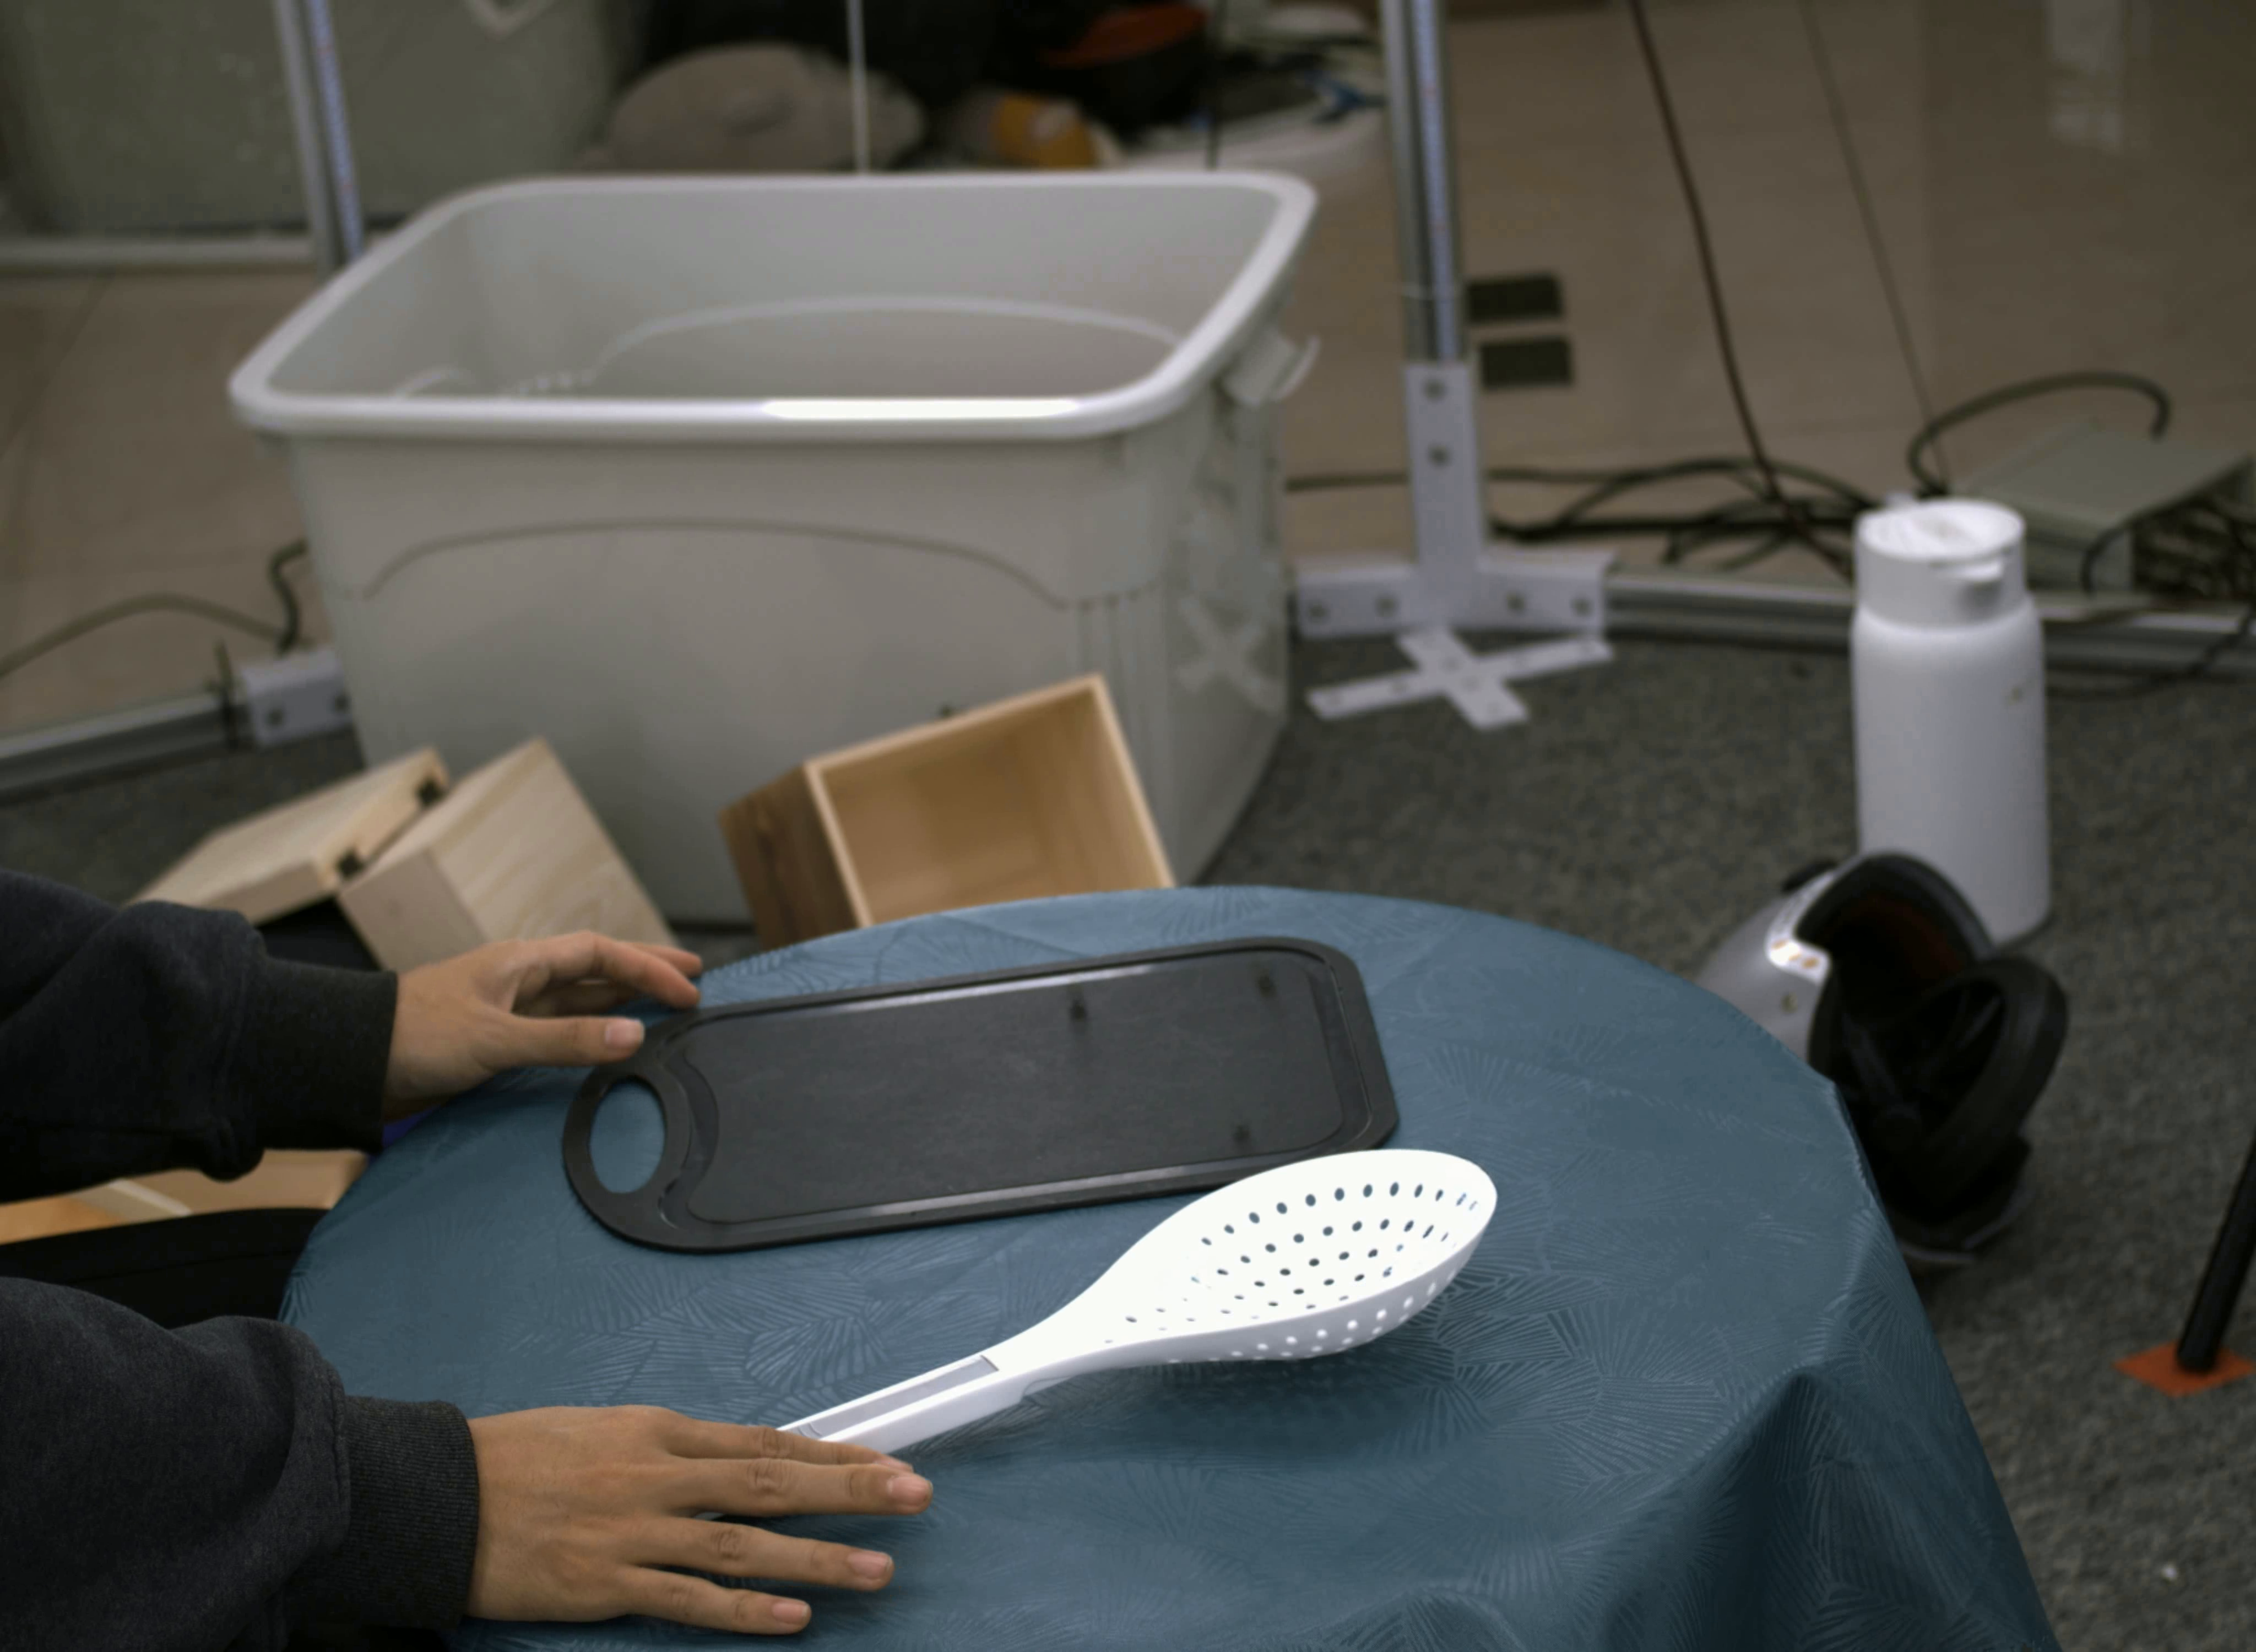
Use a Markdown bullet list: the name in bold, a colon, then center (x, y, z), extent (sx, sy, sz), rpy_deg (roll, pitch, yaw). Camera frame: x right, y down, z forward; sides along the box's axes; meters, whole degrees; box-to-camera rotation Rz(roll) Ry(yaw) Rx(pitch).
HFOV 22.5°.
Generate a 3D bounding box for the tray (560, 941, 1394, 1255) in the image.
- **tray**: center (-0.062, 0.105, 2.229), extent (0.325, 0.010, 0.208), rpy_deg (-7, 25, -1)

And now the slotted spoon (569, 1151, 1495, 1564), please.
- **slotted spoon**: center (-0.031, 0.187, 1.994), extent (0.348, 0.046, 0.135), rpy_deg (-16, 15, -17)
